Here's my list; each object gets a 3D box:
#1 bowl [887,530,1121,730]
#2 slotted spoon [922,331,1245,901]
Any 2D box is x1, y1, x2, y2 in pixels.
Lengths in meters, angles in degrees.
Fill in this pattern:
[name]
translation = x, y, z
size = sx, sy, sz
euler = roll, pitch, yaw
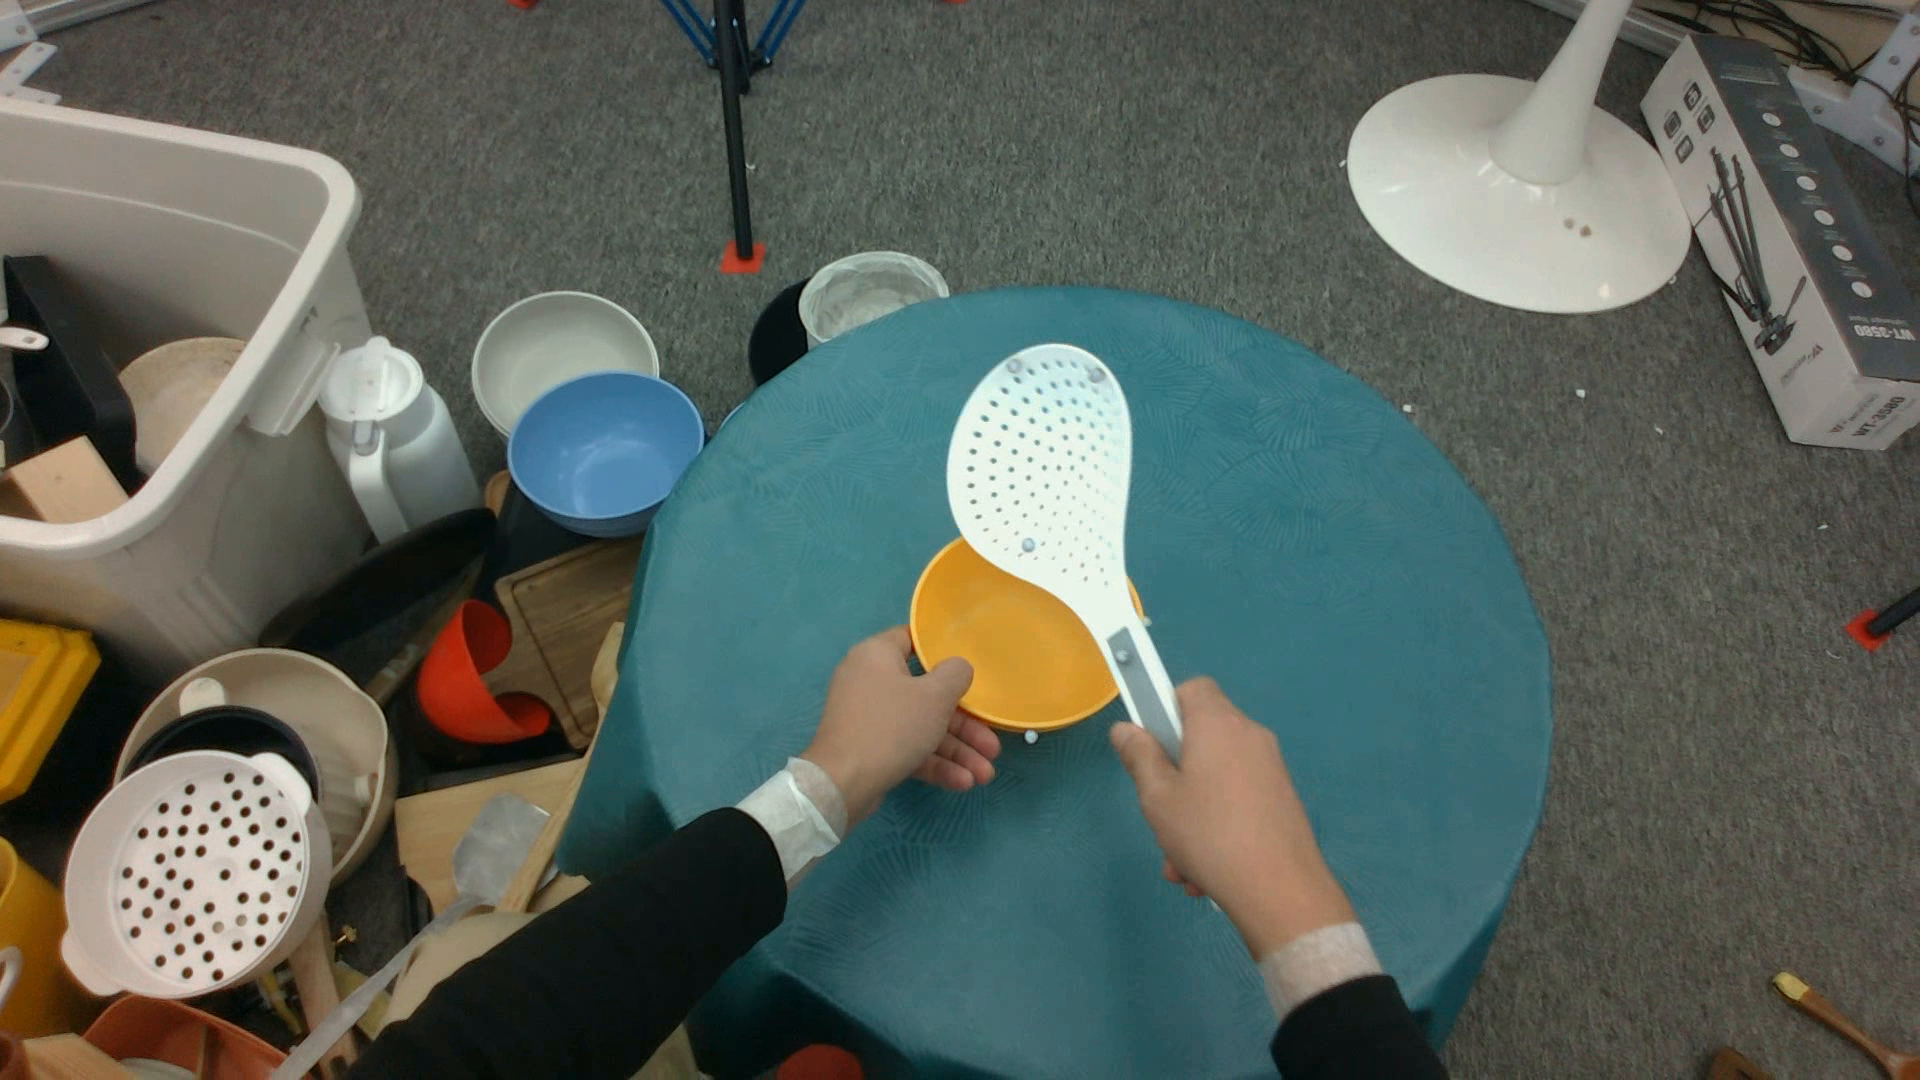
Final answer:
[bowl]
translation = 0.026, 0.062, 0.862
size = 0.145, 0.060, 0.146
euler = 2, 56, -2
[slotted spoon]
translation = 0.071, 0.033, 0.765
size = 0.046, 0.135, 0.351
euler = 16, 43, -45
